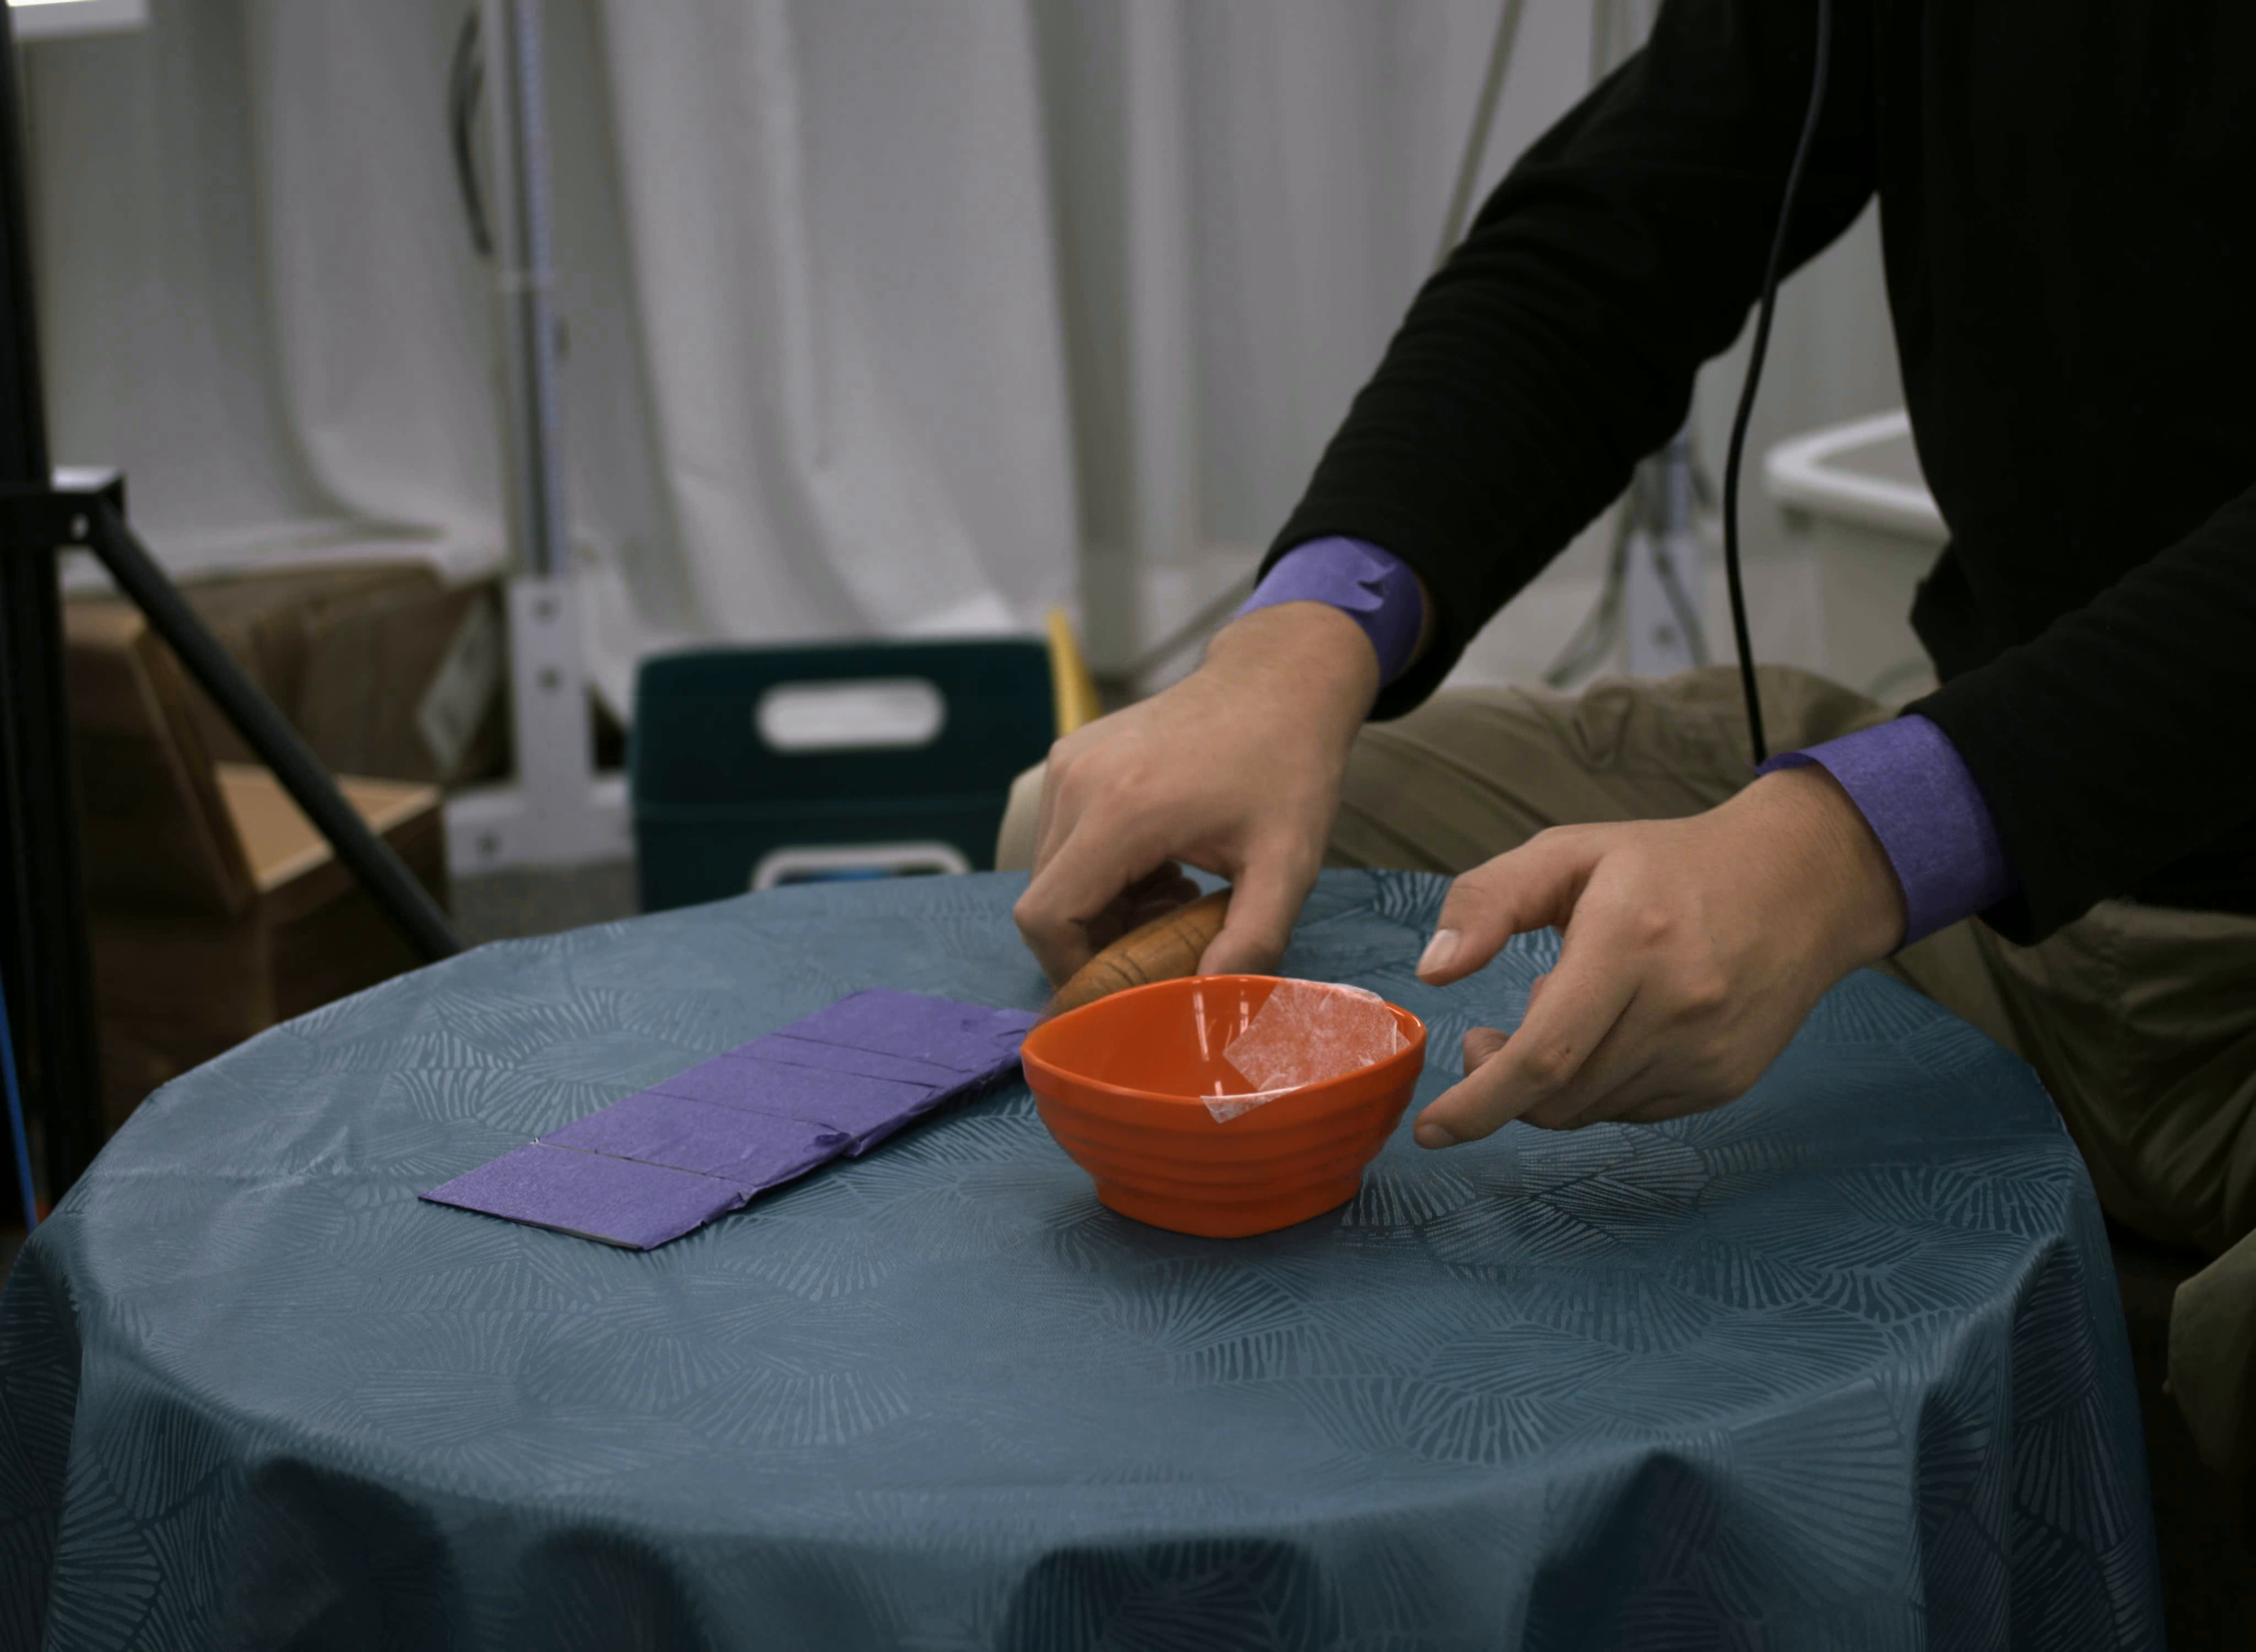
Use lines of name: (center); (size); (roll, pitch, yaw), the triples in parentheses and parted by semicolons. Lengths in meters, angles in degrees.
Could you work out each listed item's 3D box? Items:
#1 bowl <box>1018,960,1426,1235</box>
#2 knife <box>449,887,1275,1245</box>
bowl: (0.029, 0.081, 1.541); (0.118, 0.051, 0.119); (-6, 17, 0)
knife: (-0.079, 0.069, 1.659); (0.106, 0.032, 0.308); (10, 21, 37)
